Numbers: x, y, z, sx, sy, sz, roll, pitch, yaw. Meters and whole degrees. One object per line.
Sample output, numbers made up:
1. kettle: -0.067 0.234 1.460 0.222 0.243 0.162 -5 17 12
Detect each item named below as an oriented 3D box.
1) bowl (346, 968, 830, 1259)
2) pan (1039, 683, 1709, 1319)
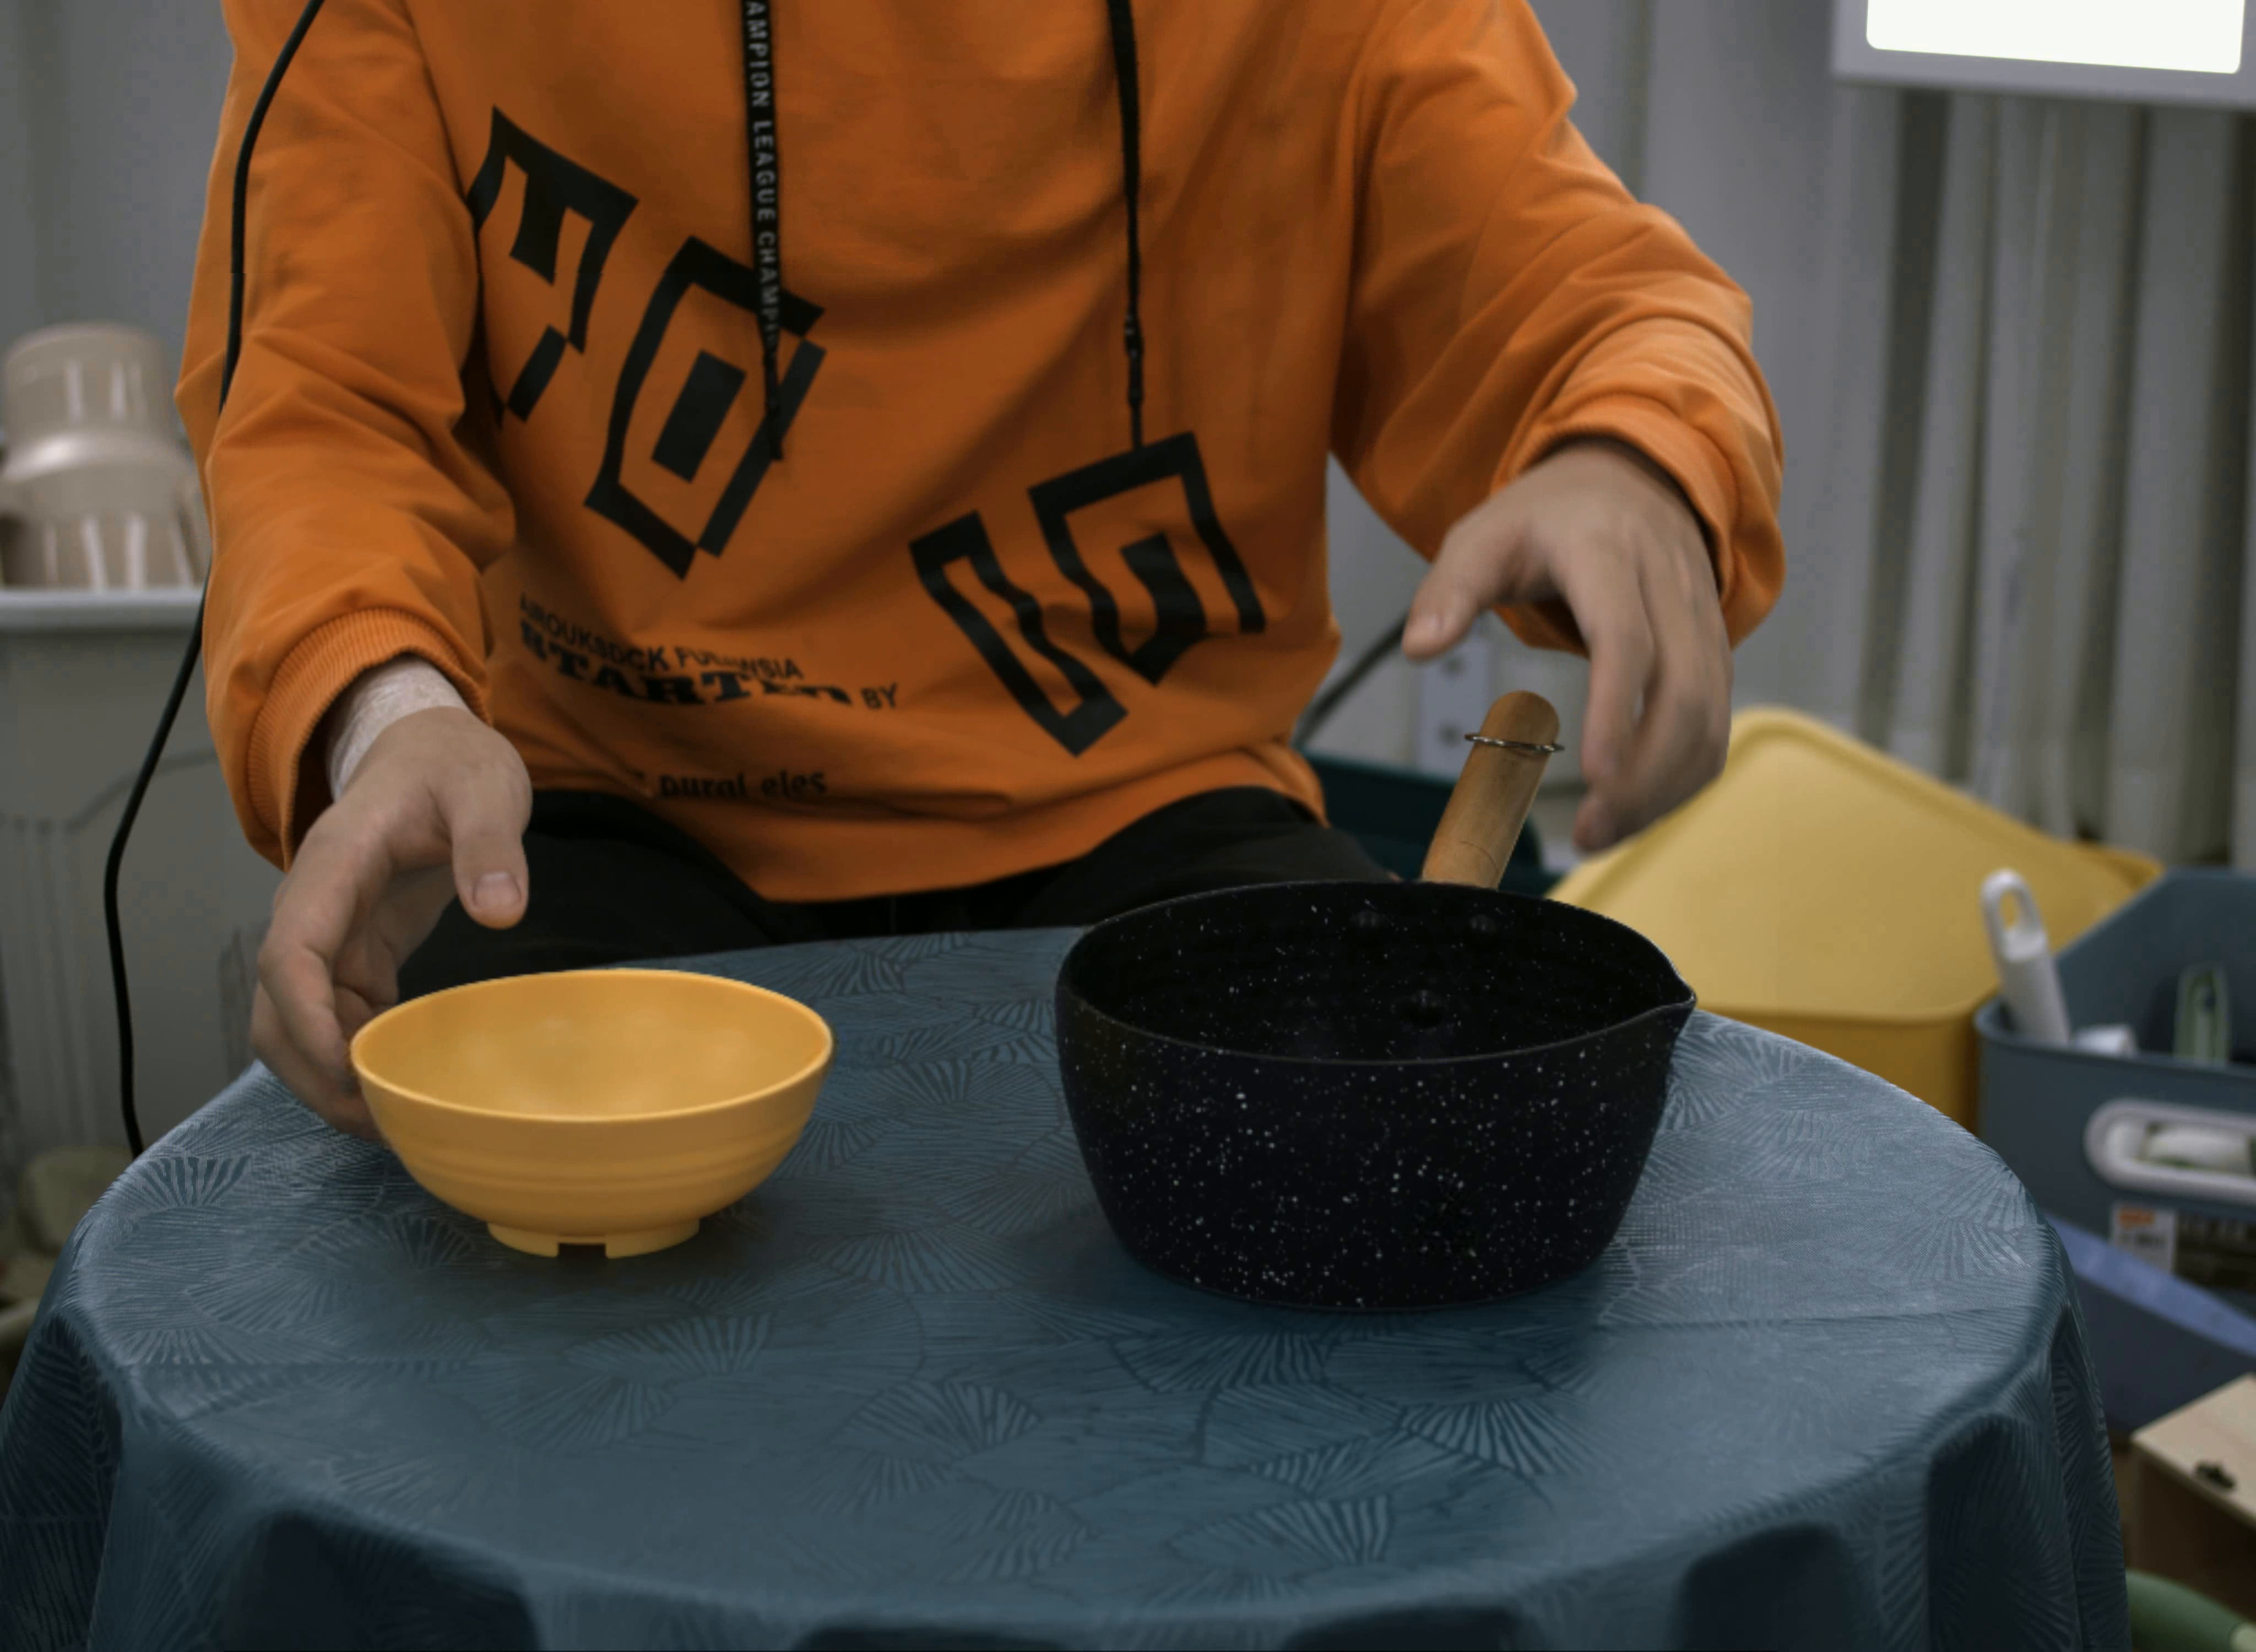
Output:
1. bowl: -0.162 0.092 1.583 0.145 0.060 0.144 2 15 0
2. pan: 0.090 0.049 1.649 0.206 0.109 0.342 3 17 14
